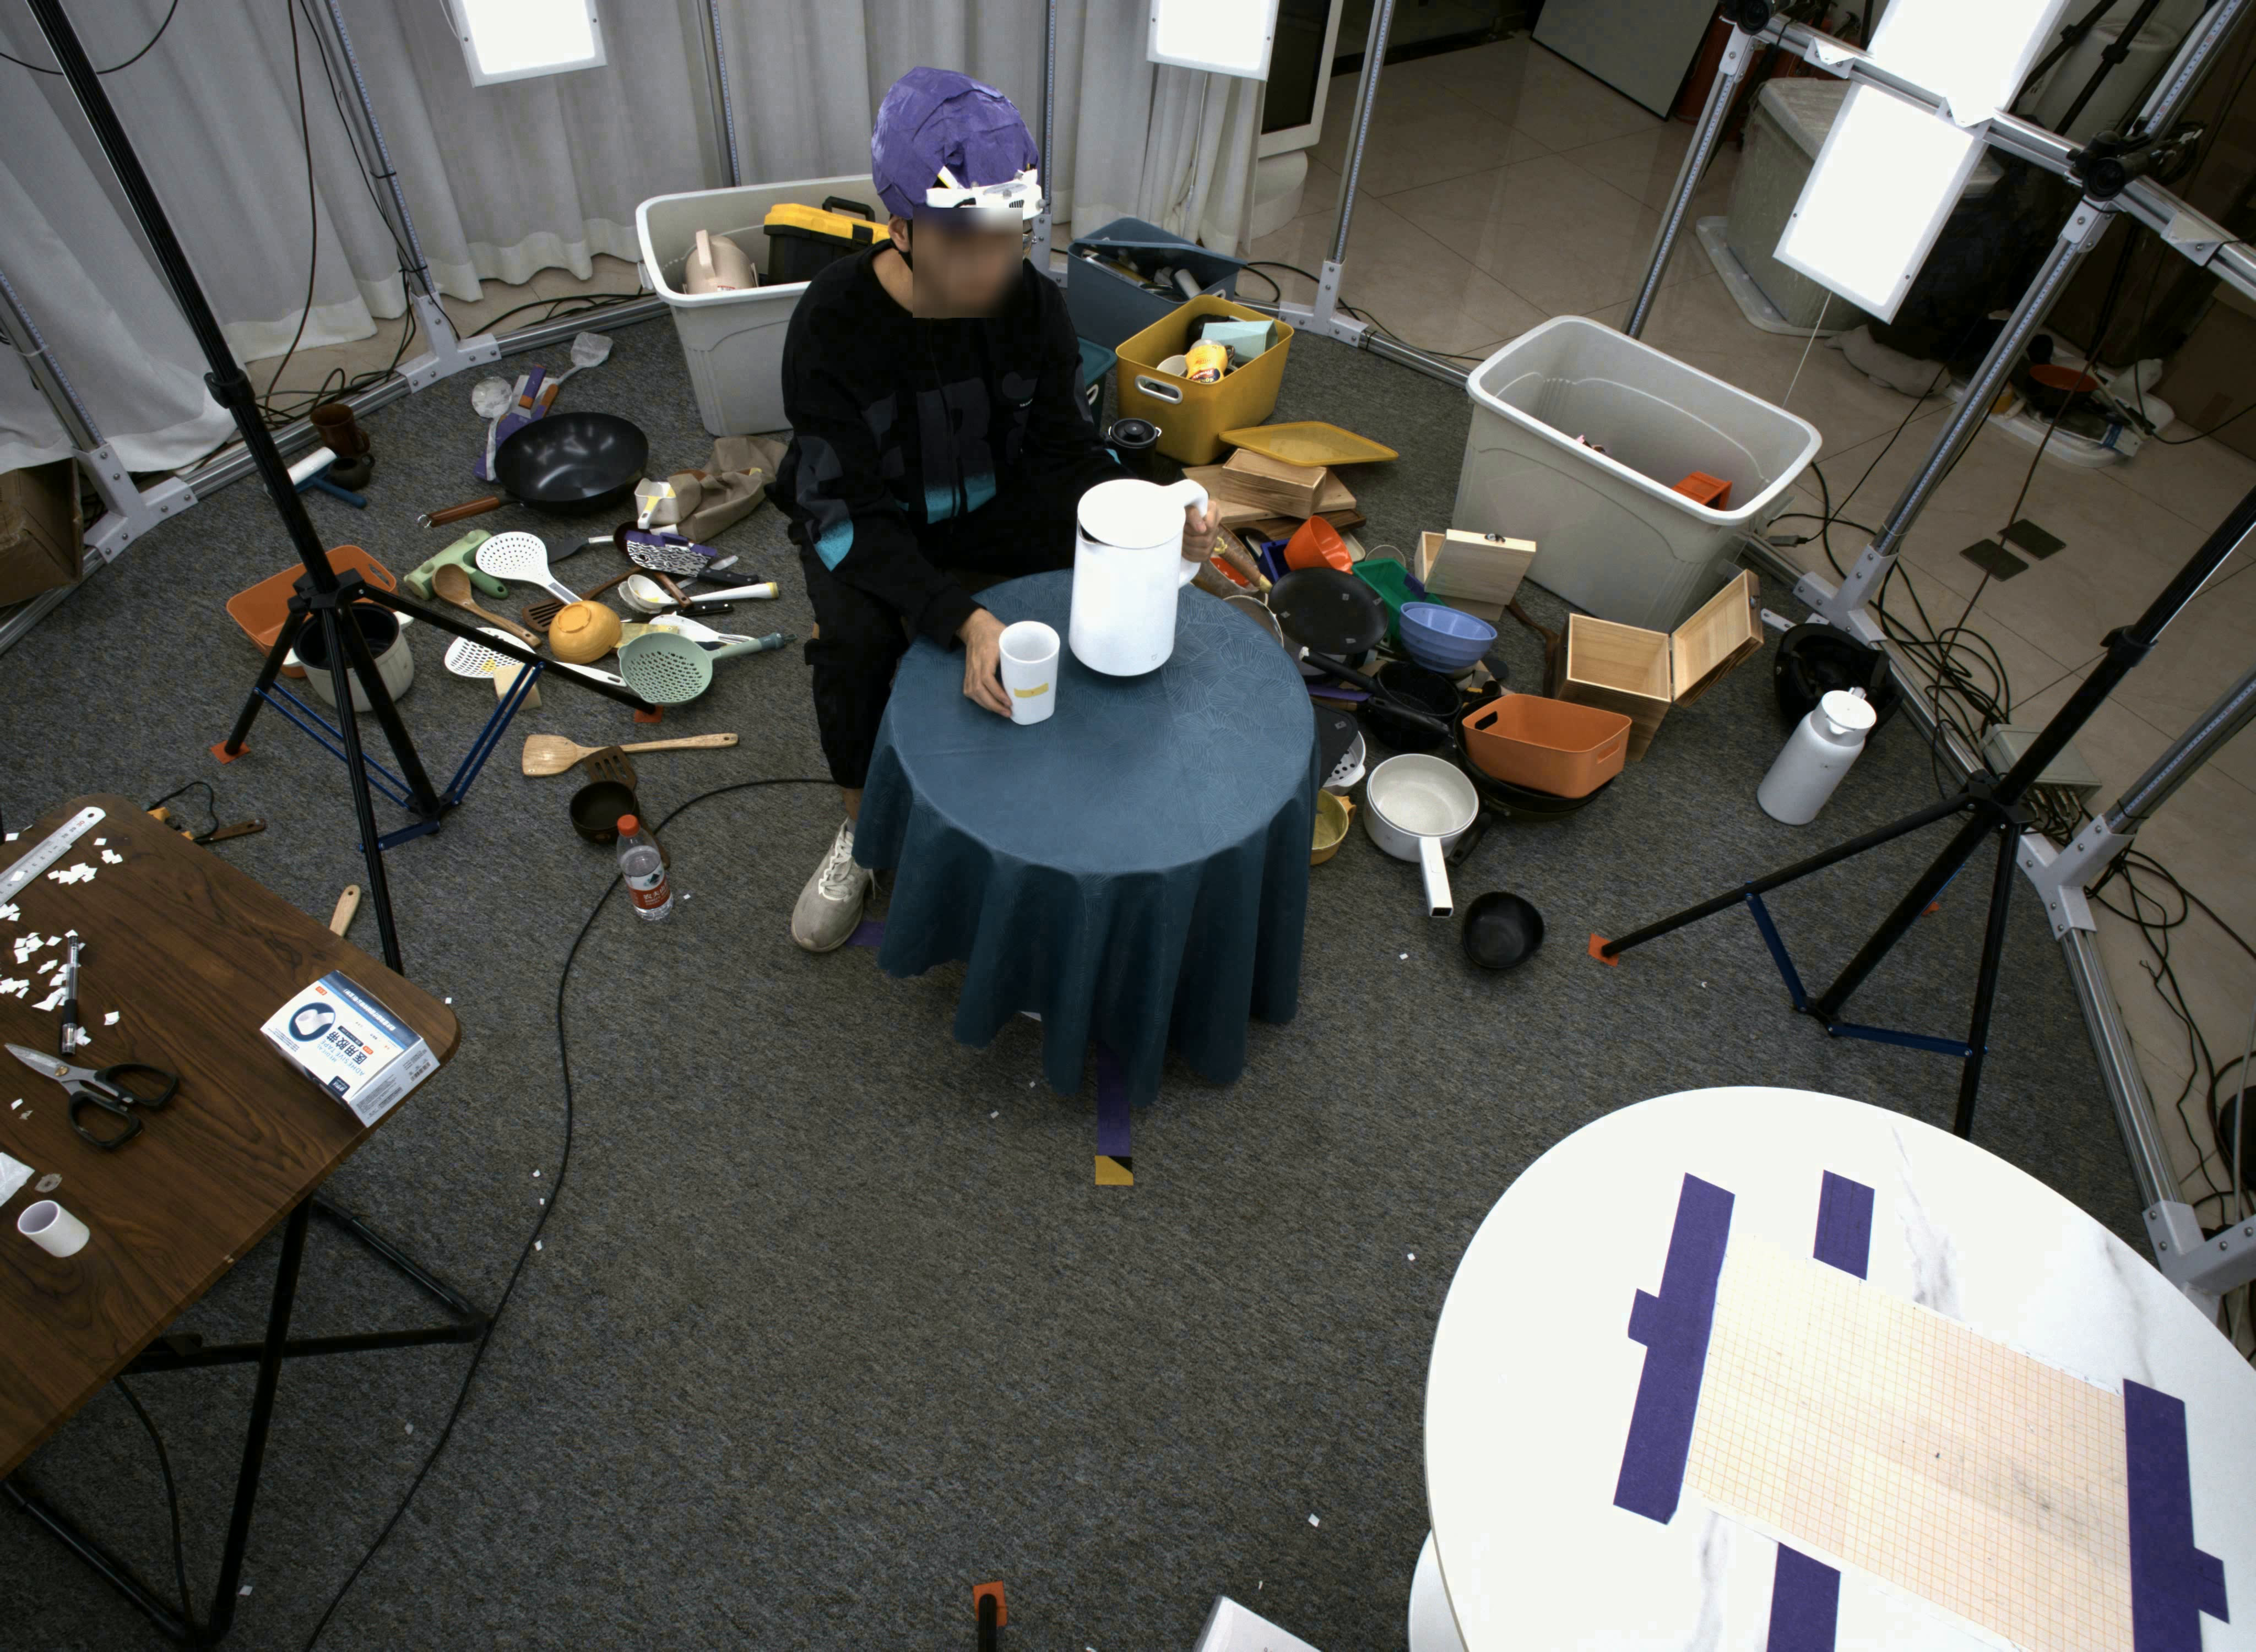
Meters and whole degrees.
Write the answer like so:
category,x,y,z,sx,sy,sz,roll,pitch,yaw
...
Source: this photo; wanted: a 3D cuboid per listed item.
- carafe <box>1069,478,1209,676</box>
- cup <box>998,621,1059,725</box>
category,x,y,z,sx,sy,sz,roll,pitch,yaw
carafe,0.019,-0.353,1.790,0.214,0.234,0.155,-30,59,-25
cup,-0.136,-0.207,1.759,0.081,0.122,0.084,2,48,-2
